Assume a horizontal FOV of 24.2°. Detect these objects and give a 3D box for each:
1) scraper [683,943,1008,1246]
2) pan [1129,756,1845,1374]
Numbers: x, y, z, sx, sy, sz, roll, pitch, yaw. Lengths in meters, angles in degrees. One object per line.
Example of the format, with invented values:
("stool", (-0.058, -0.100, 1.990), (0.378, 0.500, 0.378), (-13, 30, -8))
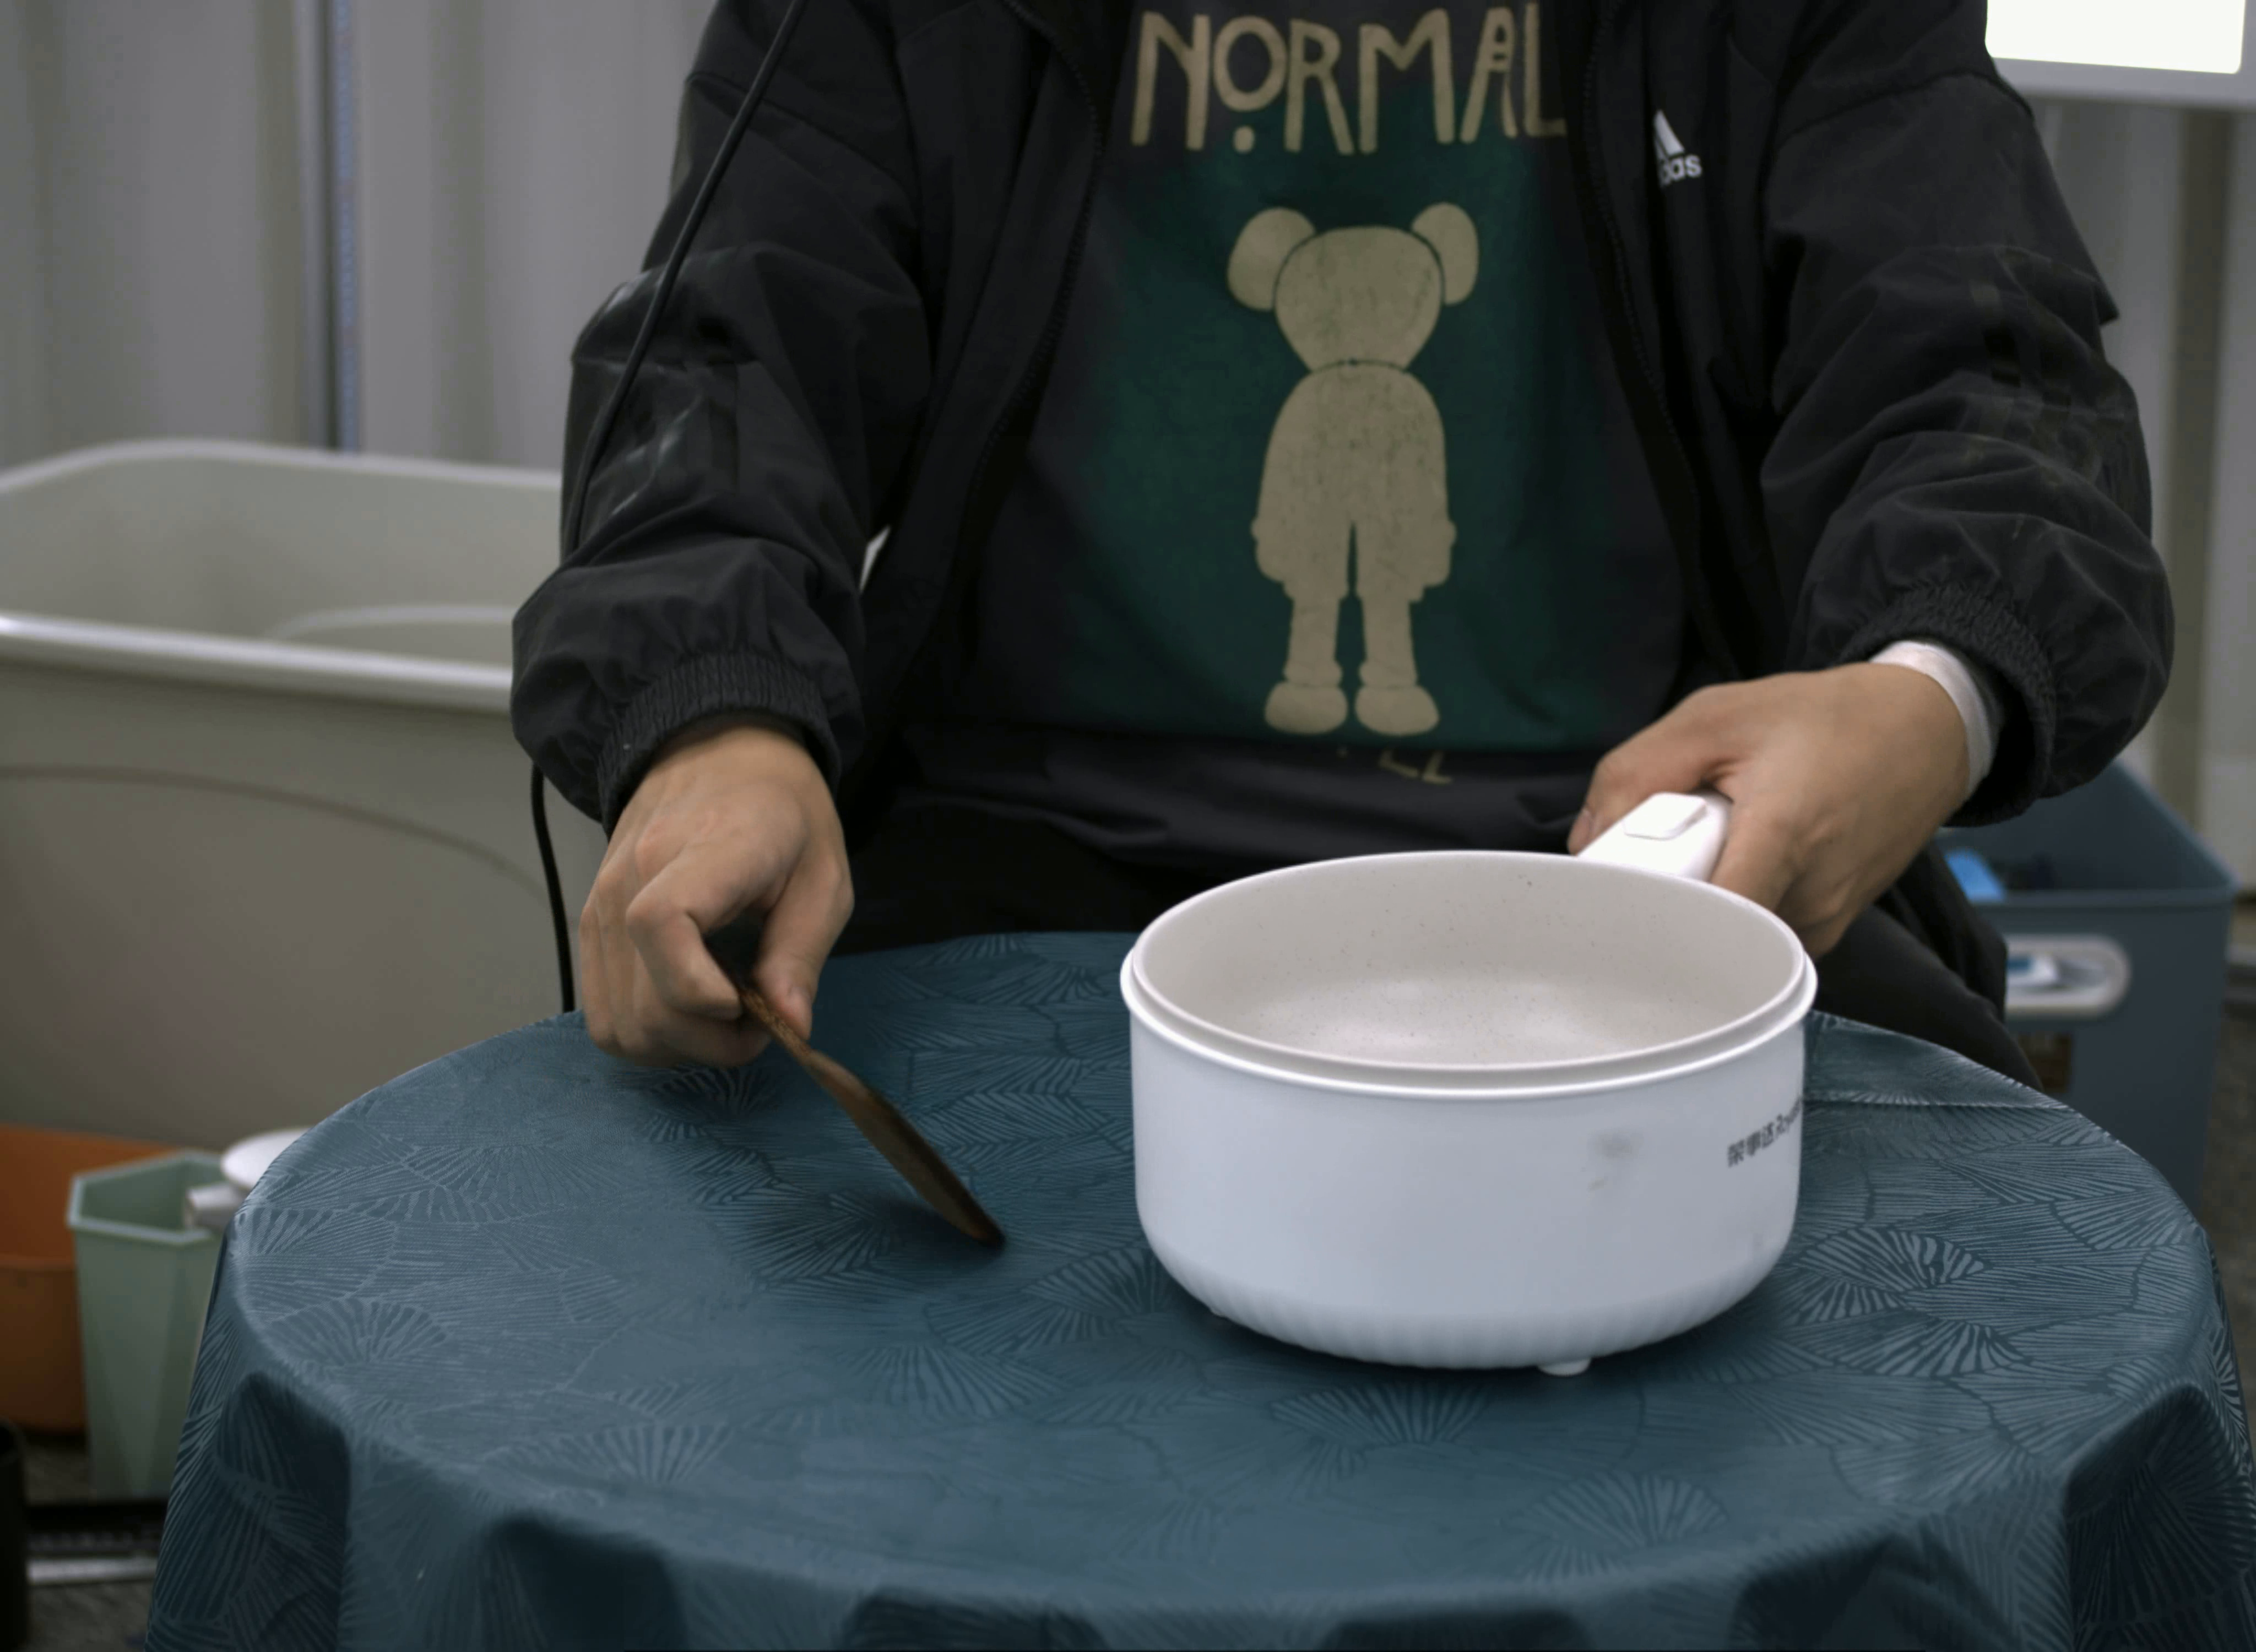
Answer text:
("scraper", (-0.096, 0.075, 1.635), (0.011, 0.077, 0.209), (-39, 28, -10))
("pan", (0.135, 0.066, 1.597), (0.199, 0.103, 0.355), (8, 18, 26))
